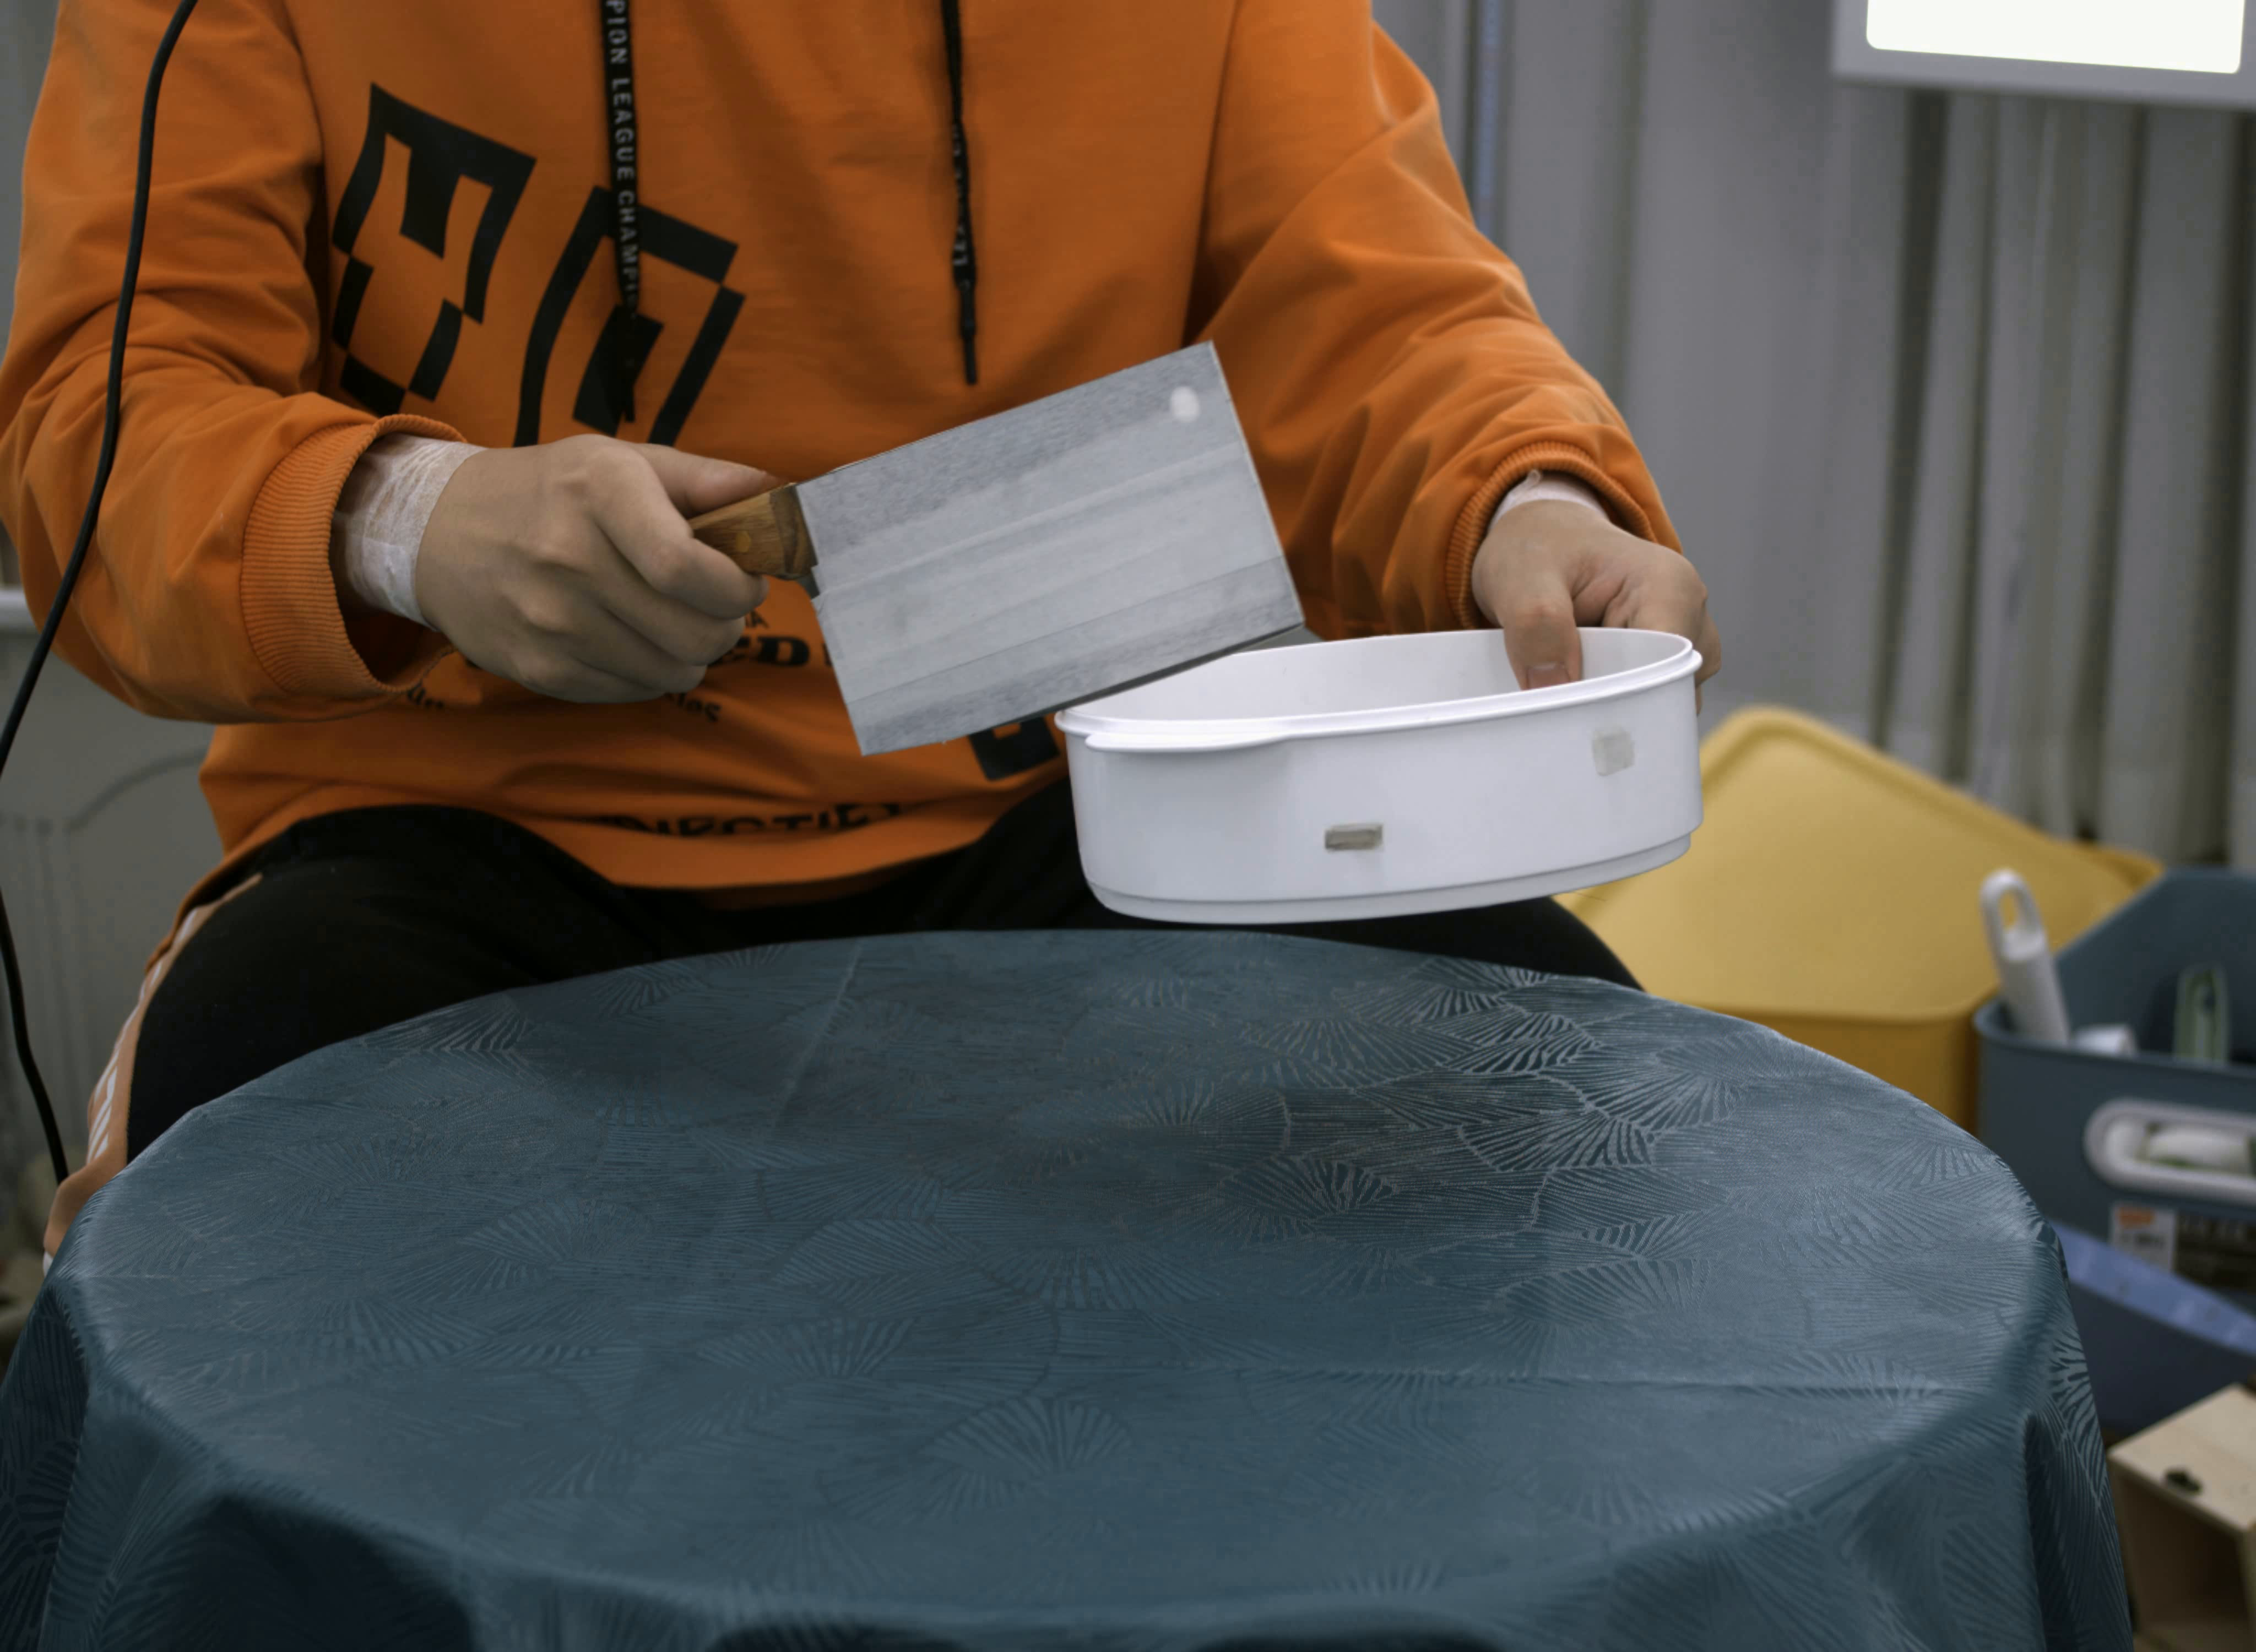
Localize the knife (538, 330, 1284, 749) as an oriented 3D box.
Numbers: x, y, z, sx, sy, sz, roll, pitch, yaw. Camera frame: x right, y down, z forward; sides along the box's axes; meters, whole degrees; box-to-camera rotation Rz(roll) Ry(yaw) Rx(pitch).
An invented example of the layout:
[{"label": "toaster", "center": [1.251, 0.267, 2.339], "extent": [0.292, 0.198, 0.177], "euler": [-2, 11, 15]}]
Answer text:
[{"label": "knife", "center": [-0.070, -0.074, 1.637], "extent": [0.303, 0.093, 0.021], "euler": [-16, 7, 41]}]

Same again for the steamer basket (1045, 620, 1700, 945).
[{"label": "steamer basket", "center": [0.077, -0.013, 1.621], "extent": [0.199, 0.070, 0.231], "euler": [0, 12, 37]}]
